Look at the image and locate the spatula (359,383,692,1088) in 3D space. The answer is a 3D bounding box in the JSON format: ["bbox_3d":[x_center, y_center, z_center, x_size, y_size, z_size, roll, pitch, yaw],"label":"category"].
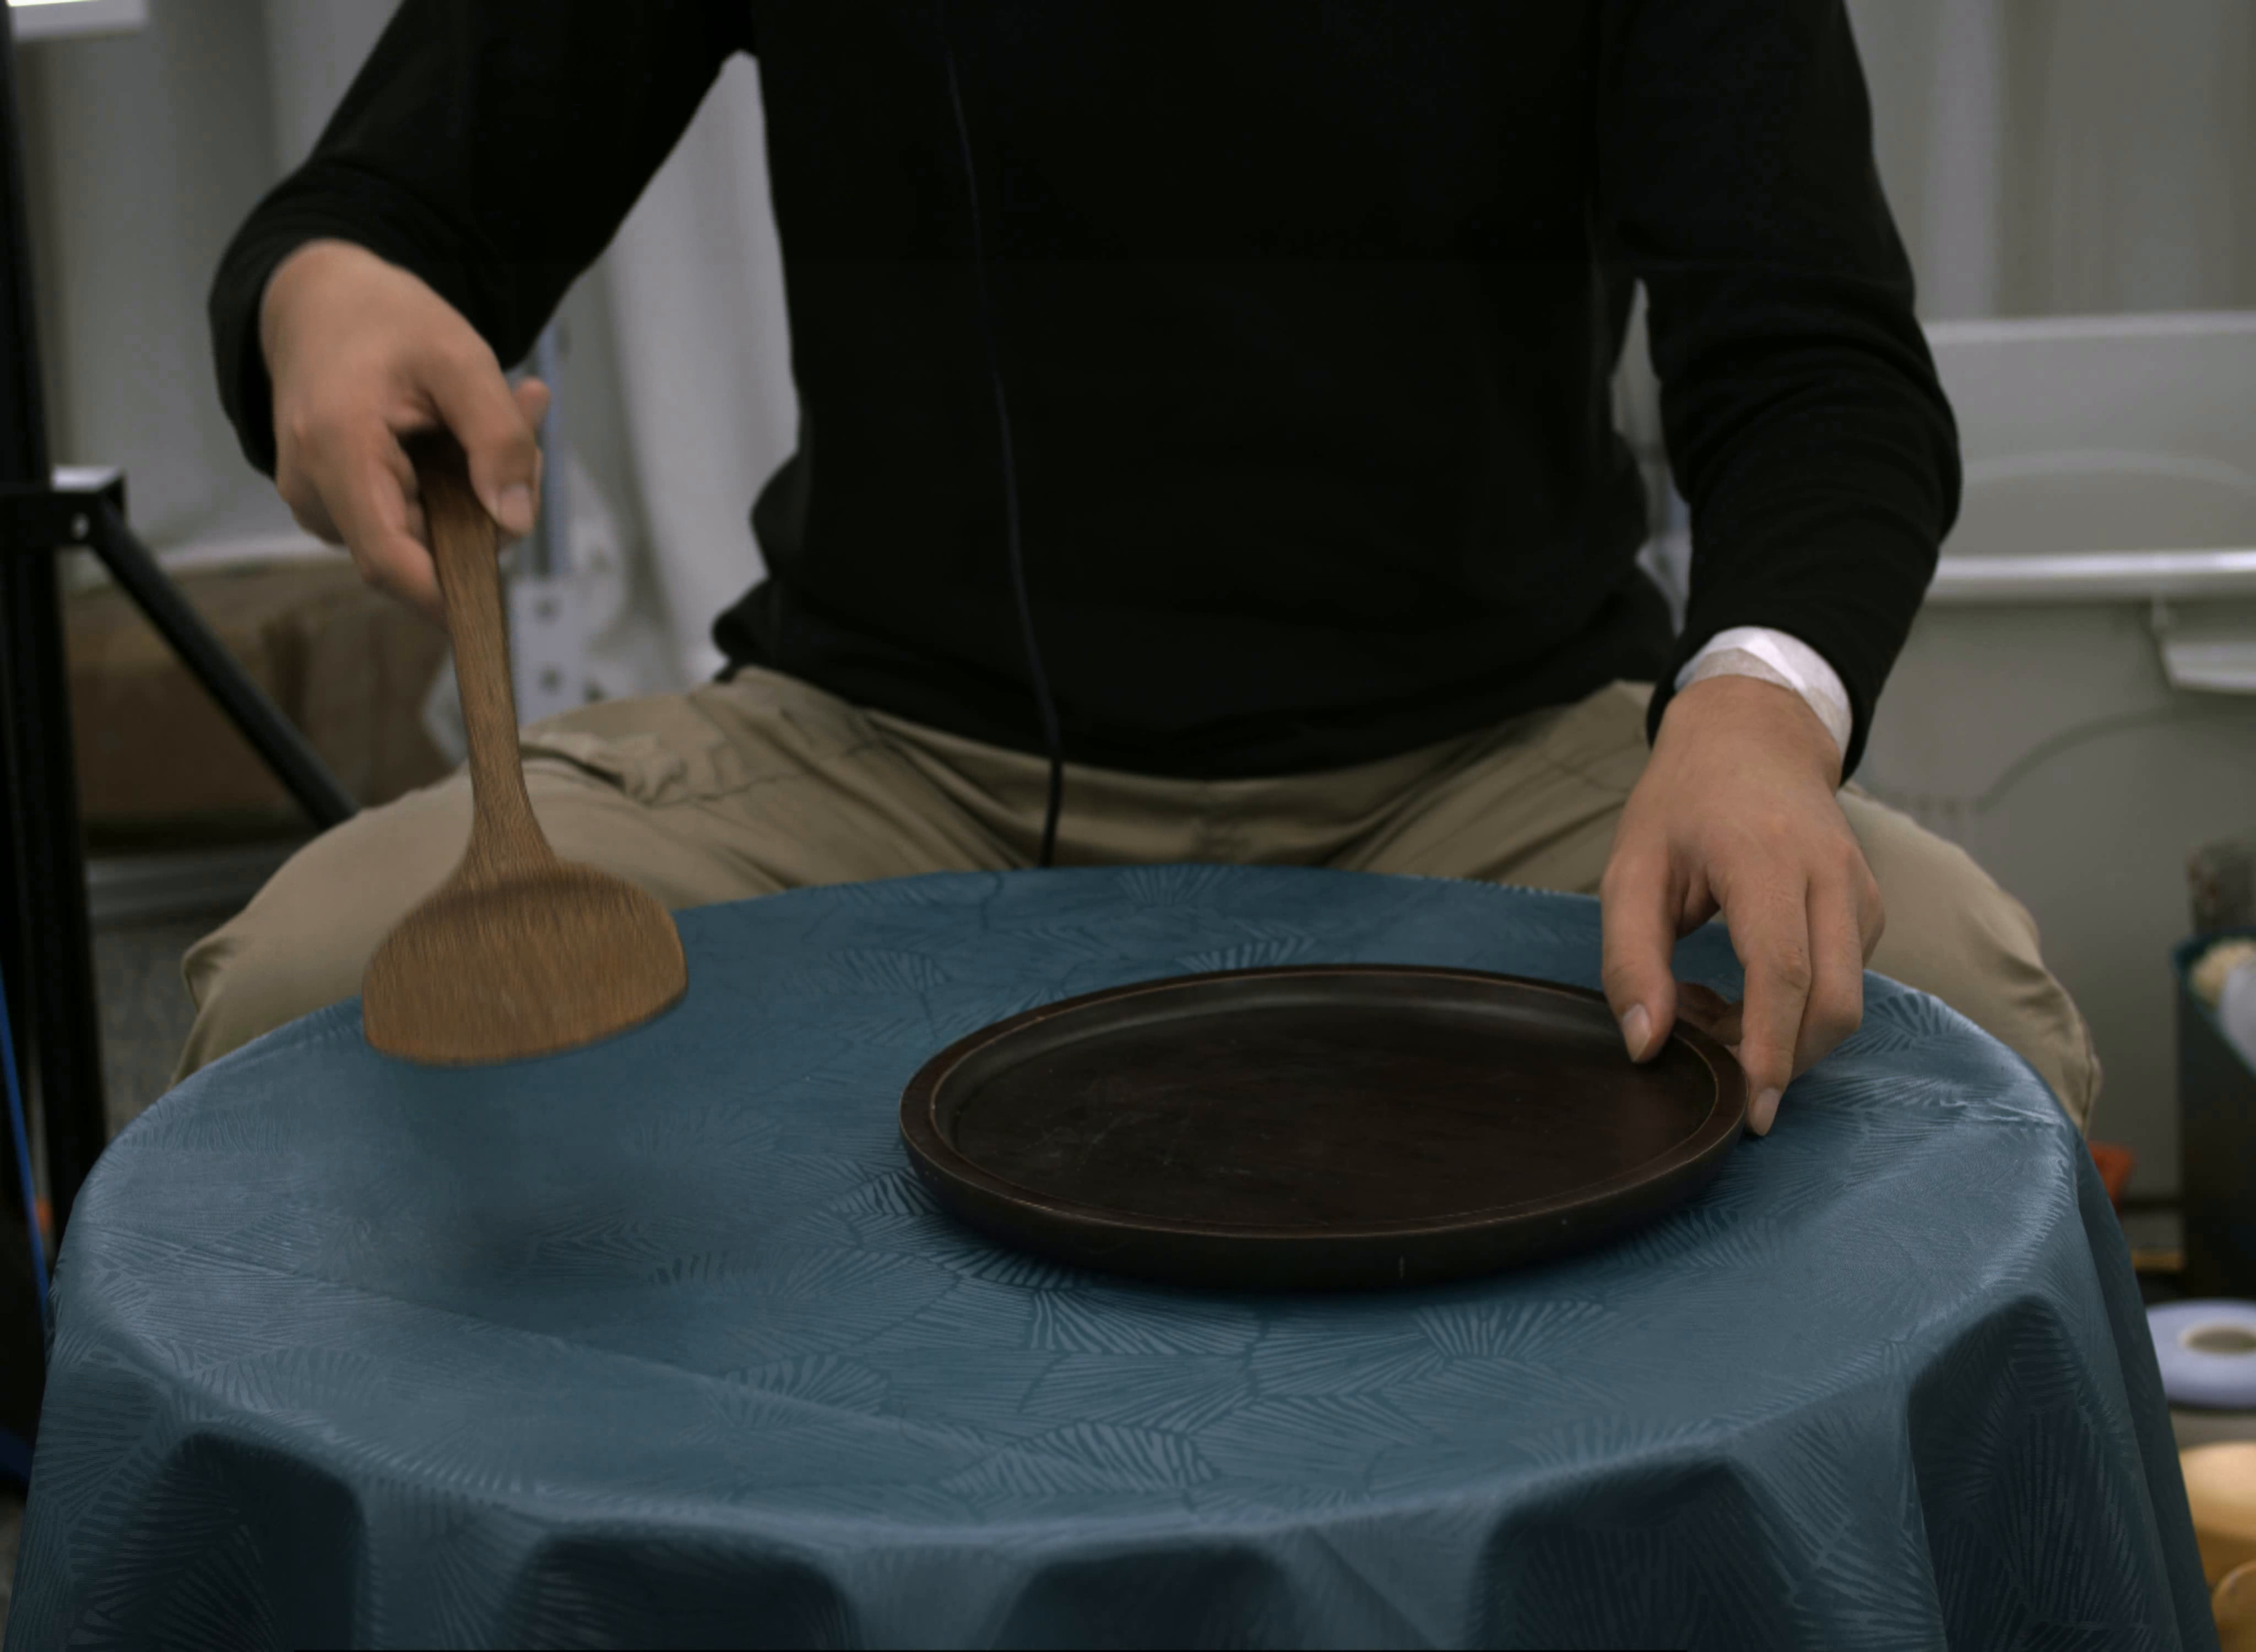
[{"bbox_3d":[-0.197,-0.039,1.648,0.095,0.015,0.391,-12,36,-3],"label":"spatula"}]

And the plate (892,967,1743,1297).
[{"bbox_3d":[0.057,0.088,1.574,0.253,0.029,0.256,-4,15,0],"label":"plate"}]
